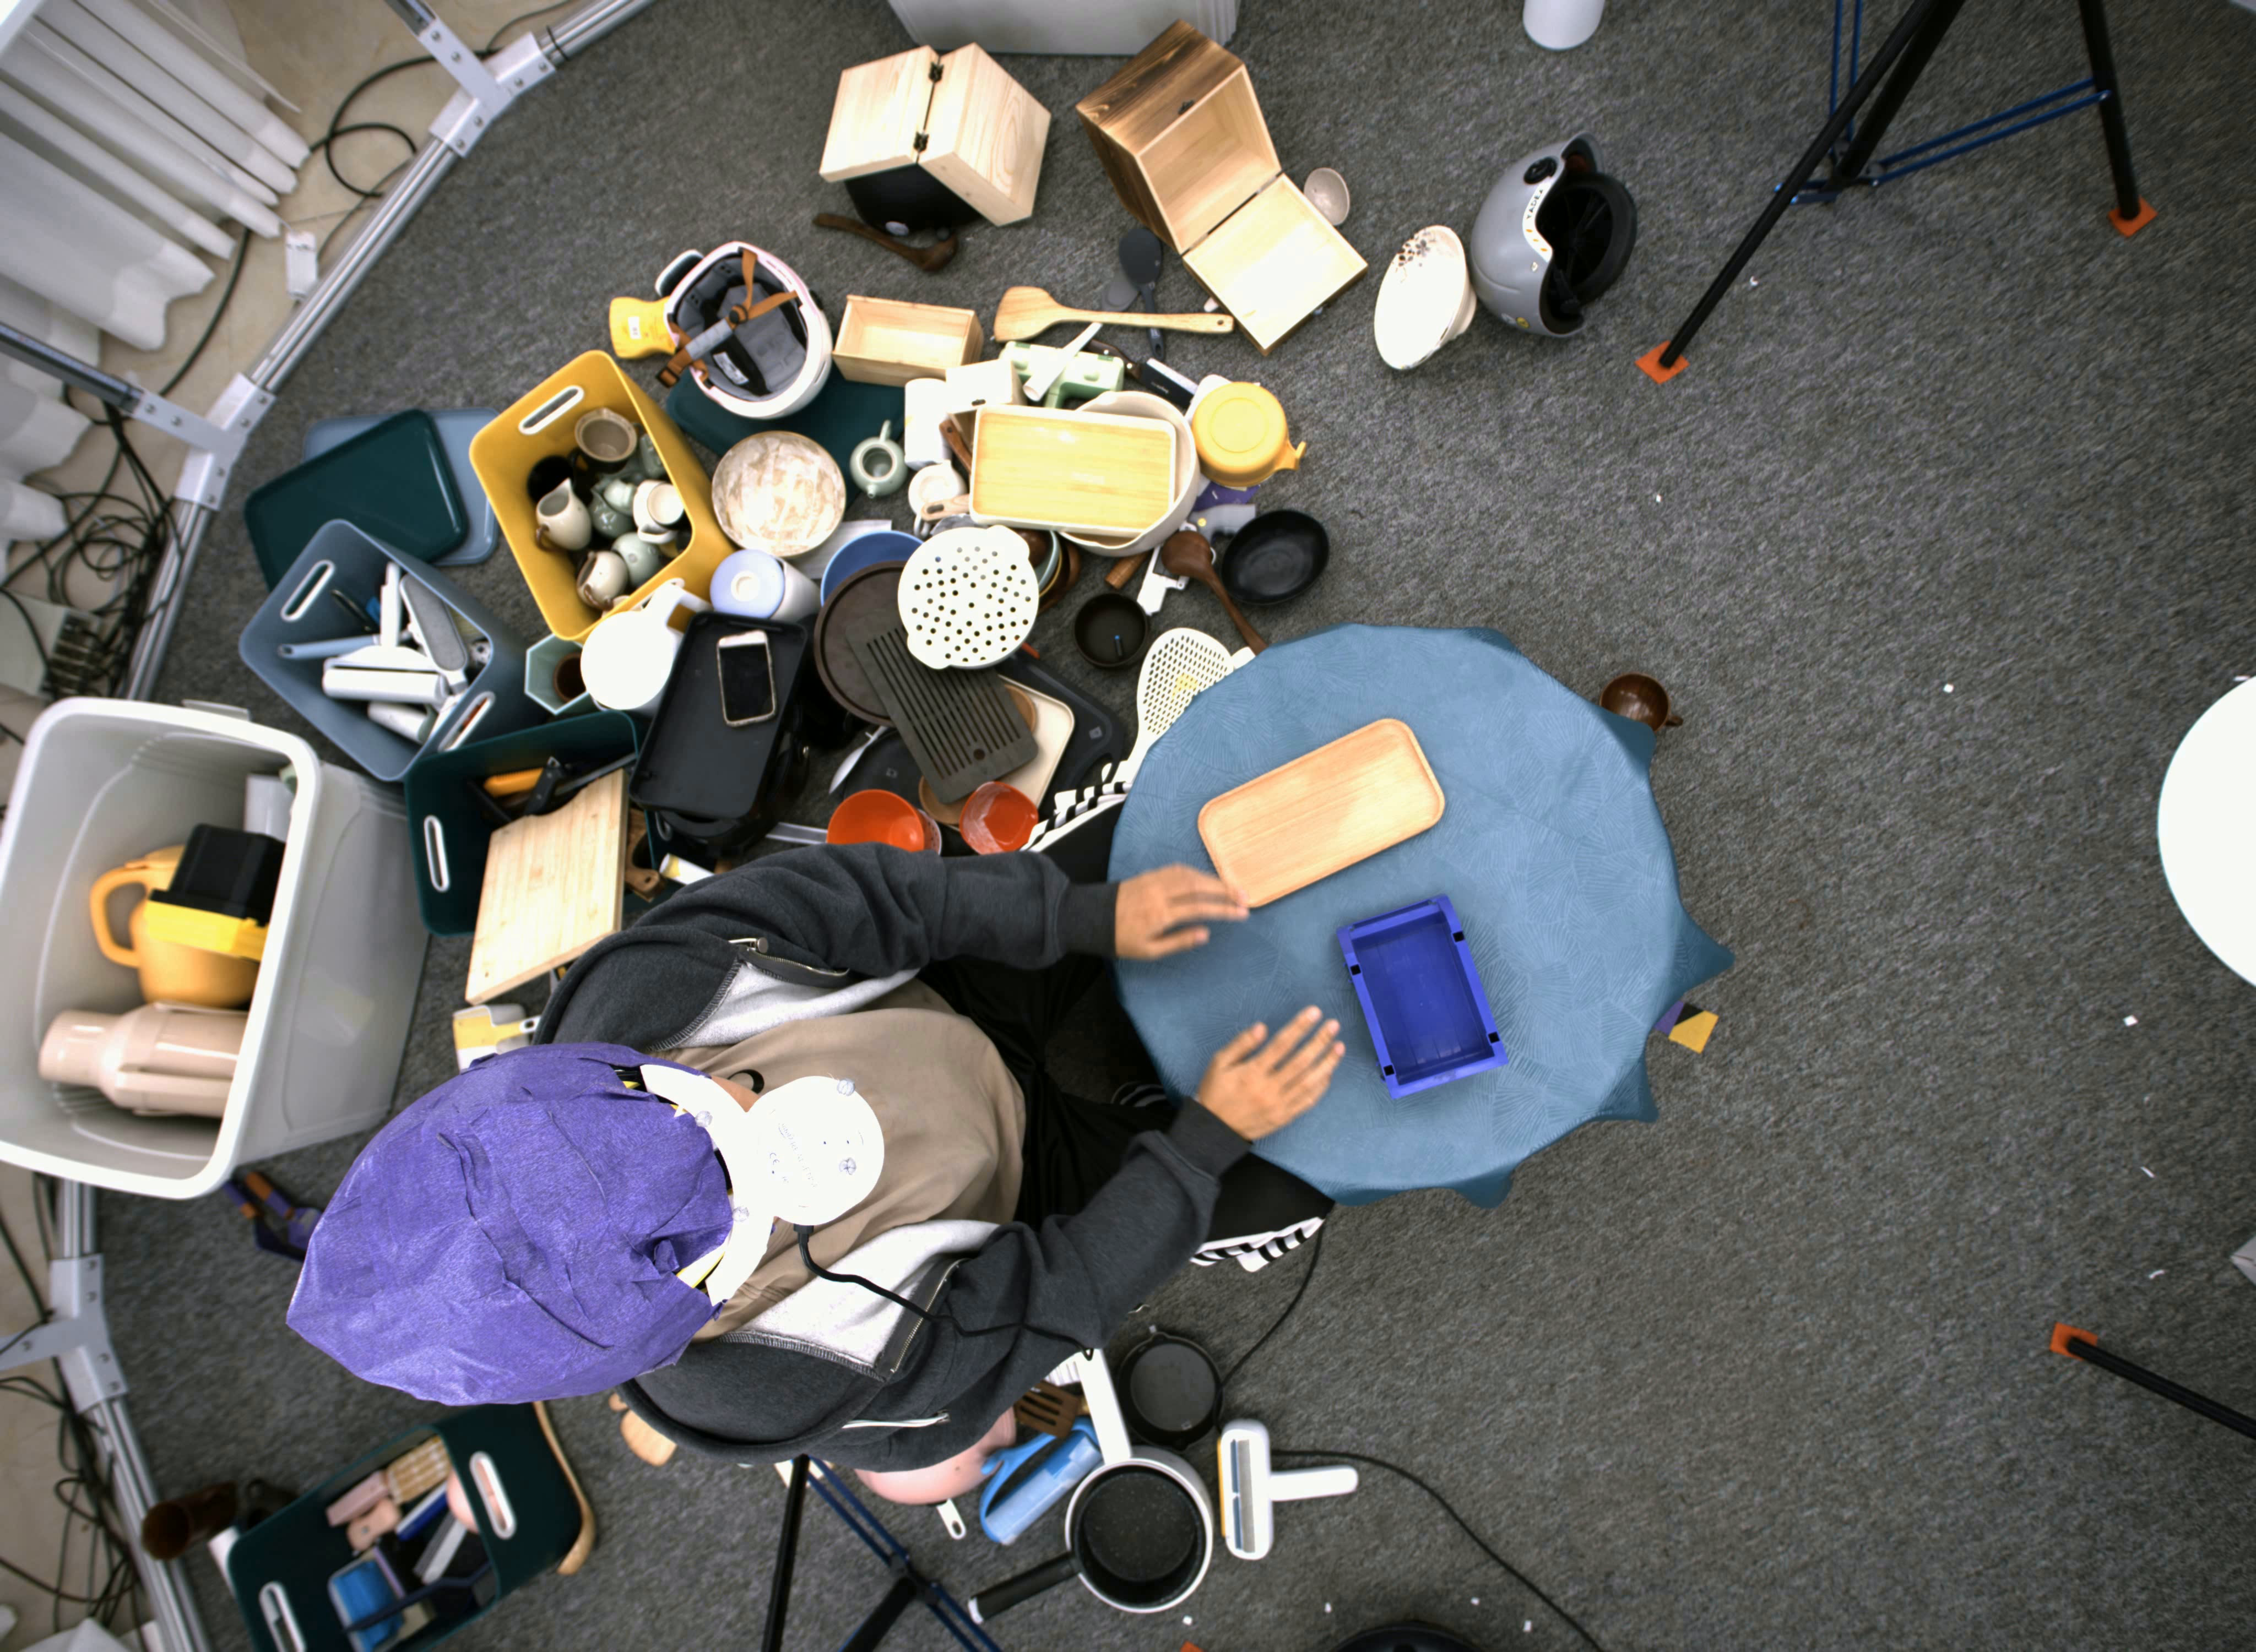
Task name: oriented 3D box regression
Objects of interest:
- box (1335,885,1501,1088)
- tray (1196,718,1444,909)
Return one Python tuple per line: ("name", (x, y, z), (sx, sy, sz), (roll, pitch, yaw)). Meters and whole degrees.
("box", (0.291, 0.160, 1.409), (0.125, 0.082, 0.179), (-17, 87, 9))
("tray", (0.203, -0.013, 1.468), (0.252, 0.023, 0.129), (-25, 80, 9))
